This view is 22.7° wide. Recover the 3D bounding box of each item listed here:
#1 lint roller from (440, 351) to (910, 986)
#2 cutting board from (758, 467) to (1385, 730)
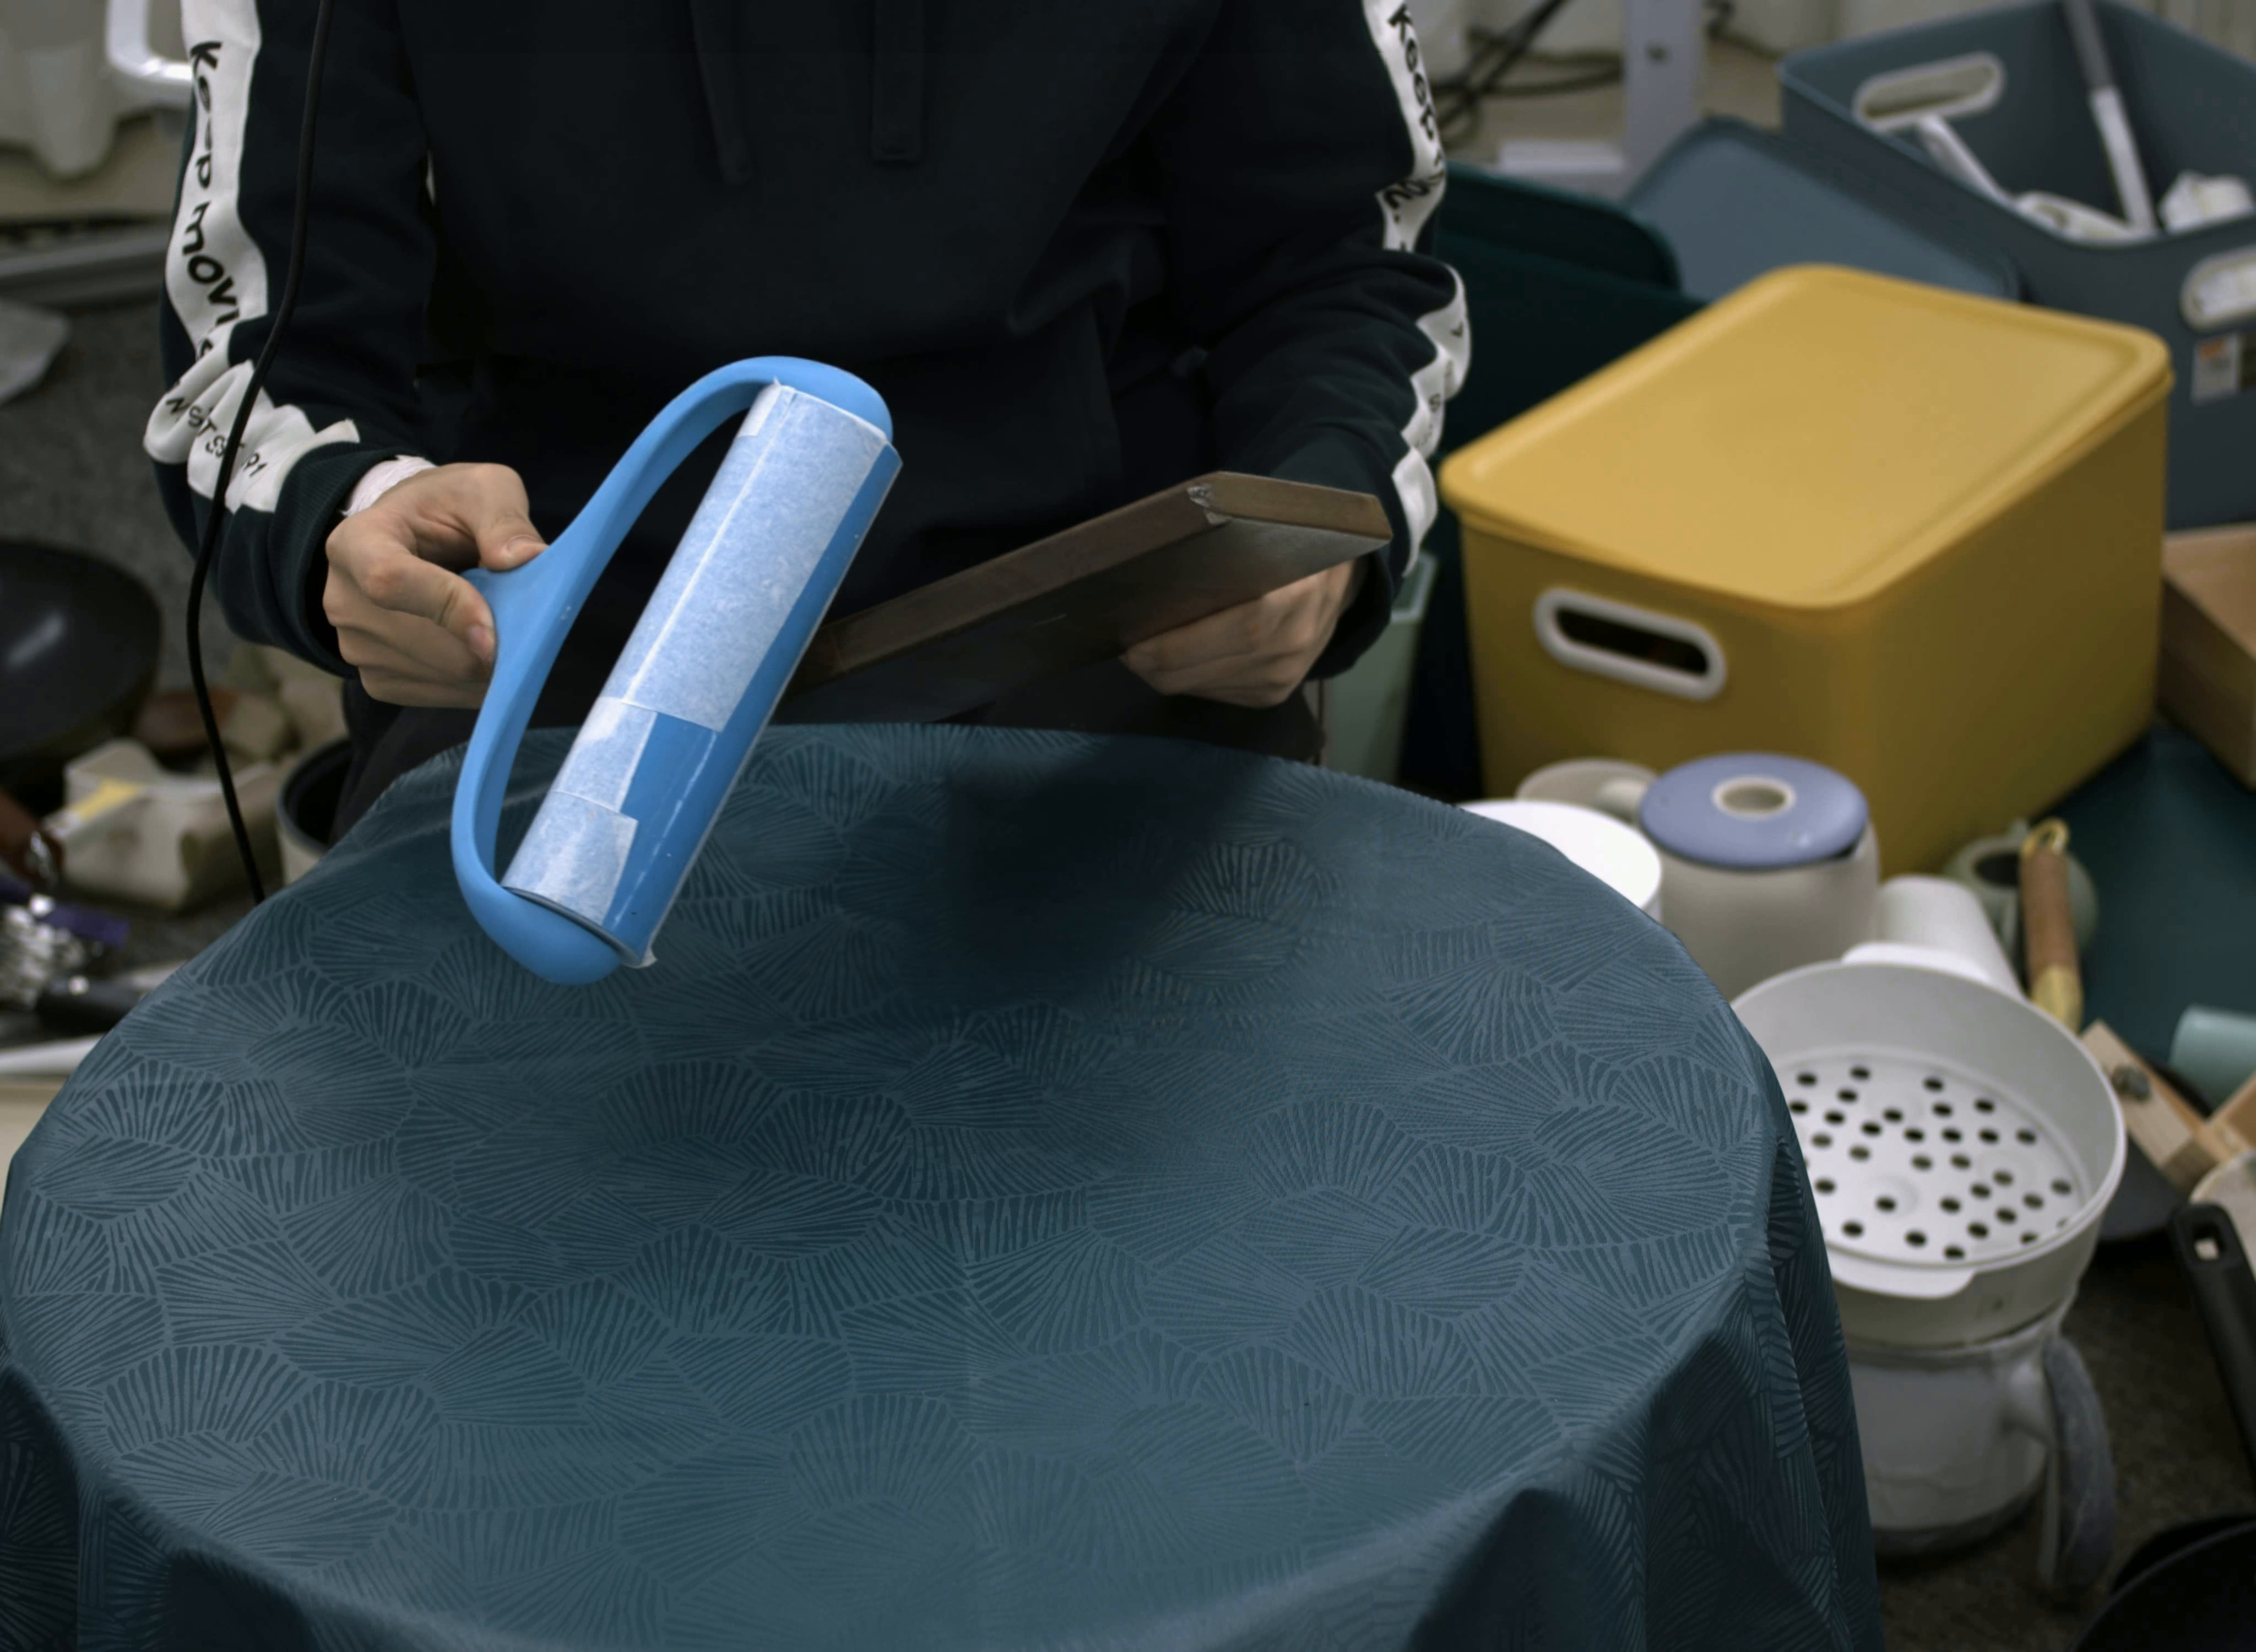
[{"bbox_3d":[-0.183,-0.061,1.892,0.179,0.067,0.232,11,70,39],"label":"lint roller"},{"bbox_3d":[-0.011,-0.078,2.036,0.199,0.023,0.353,-21,-5,13],"label":"cutting board"}]
